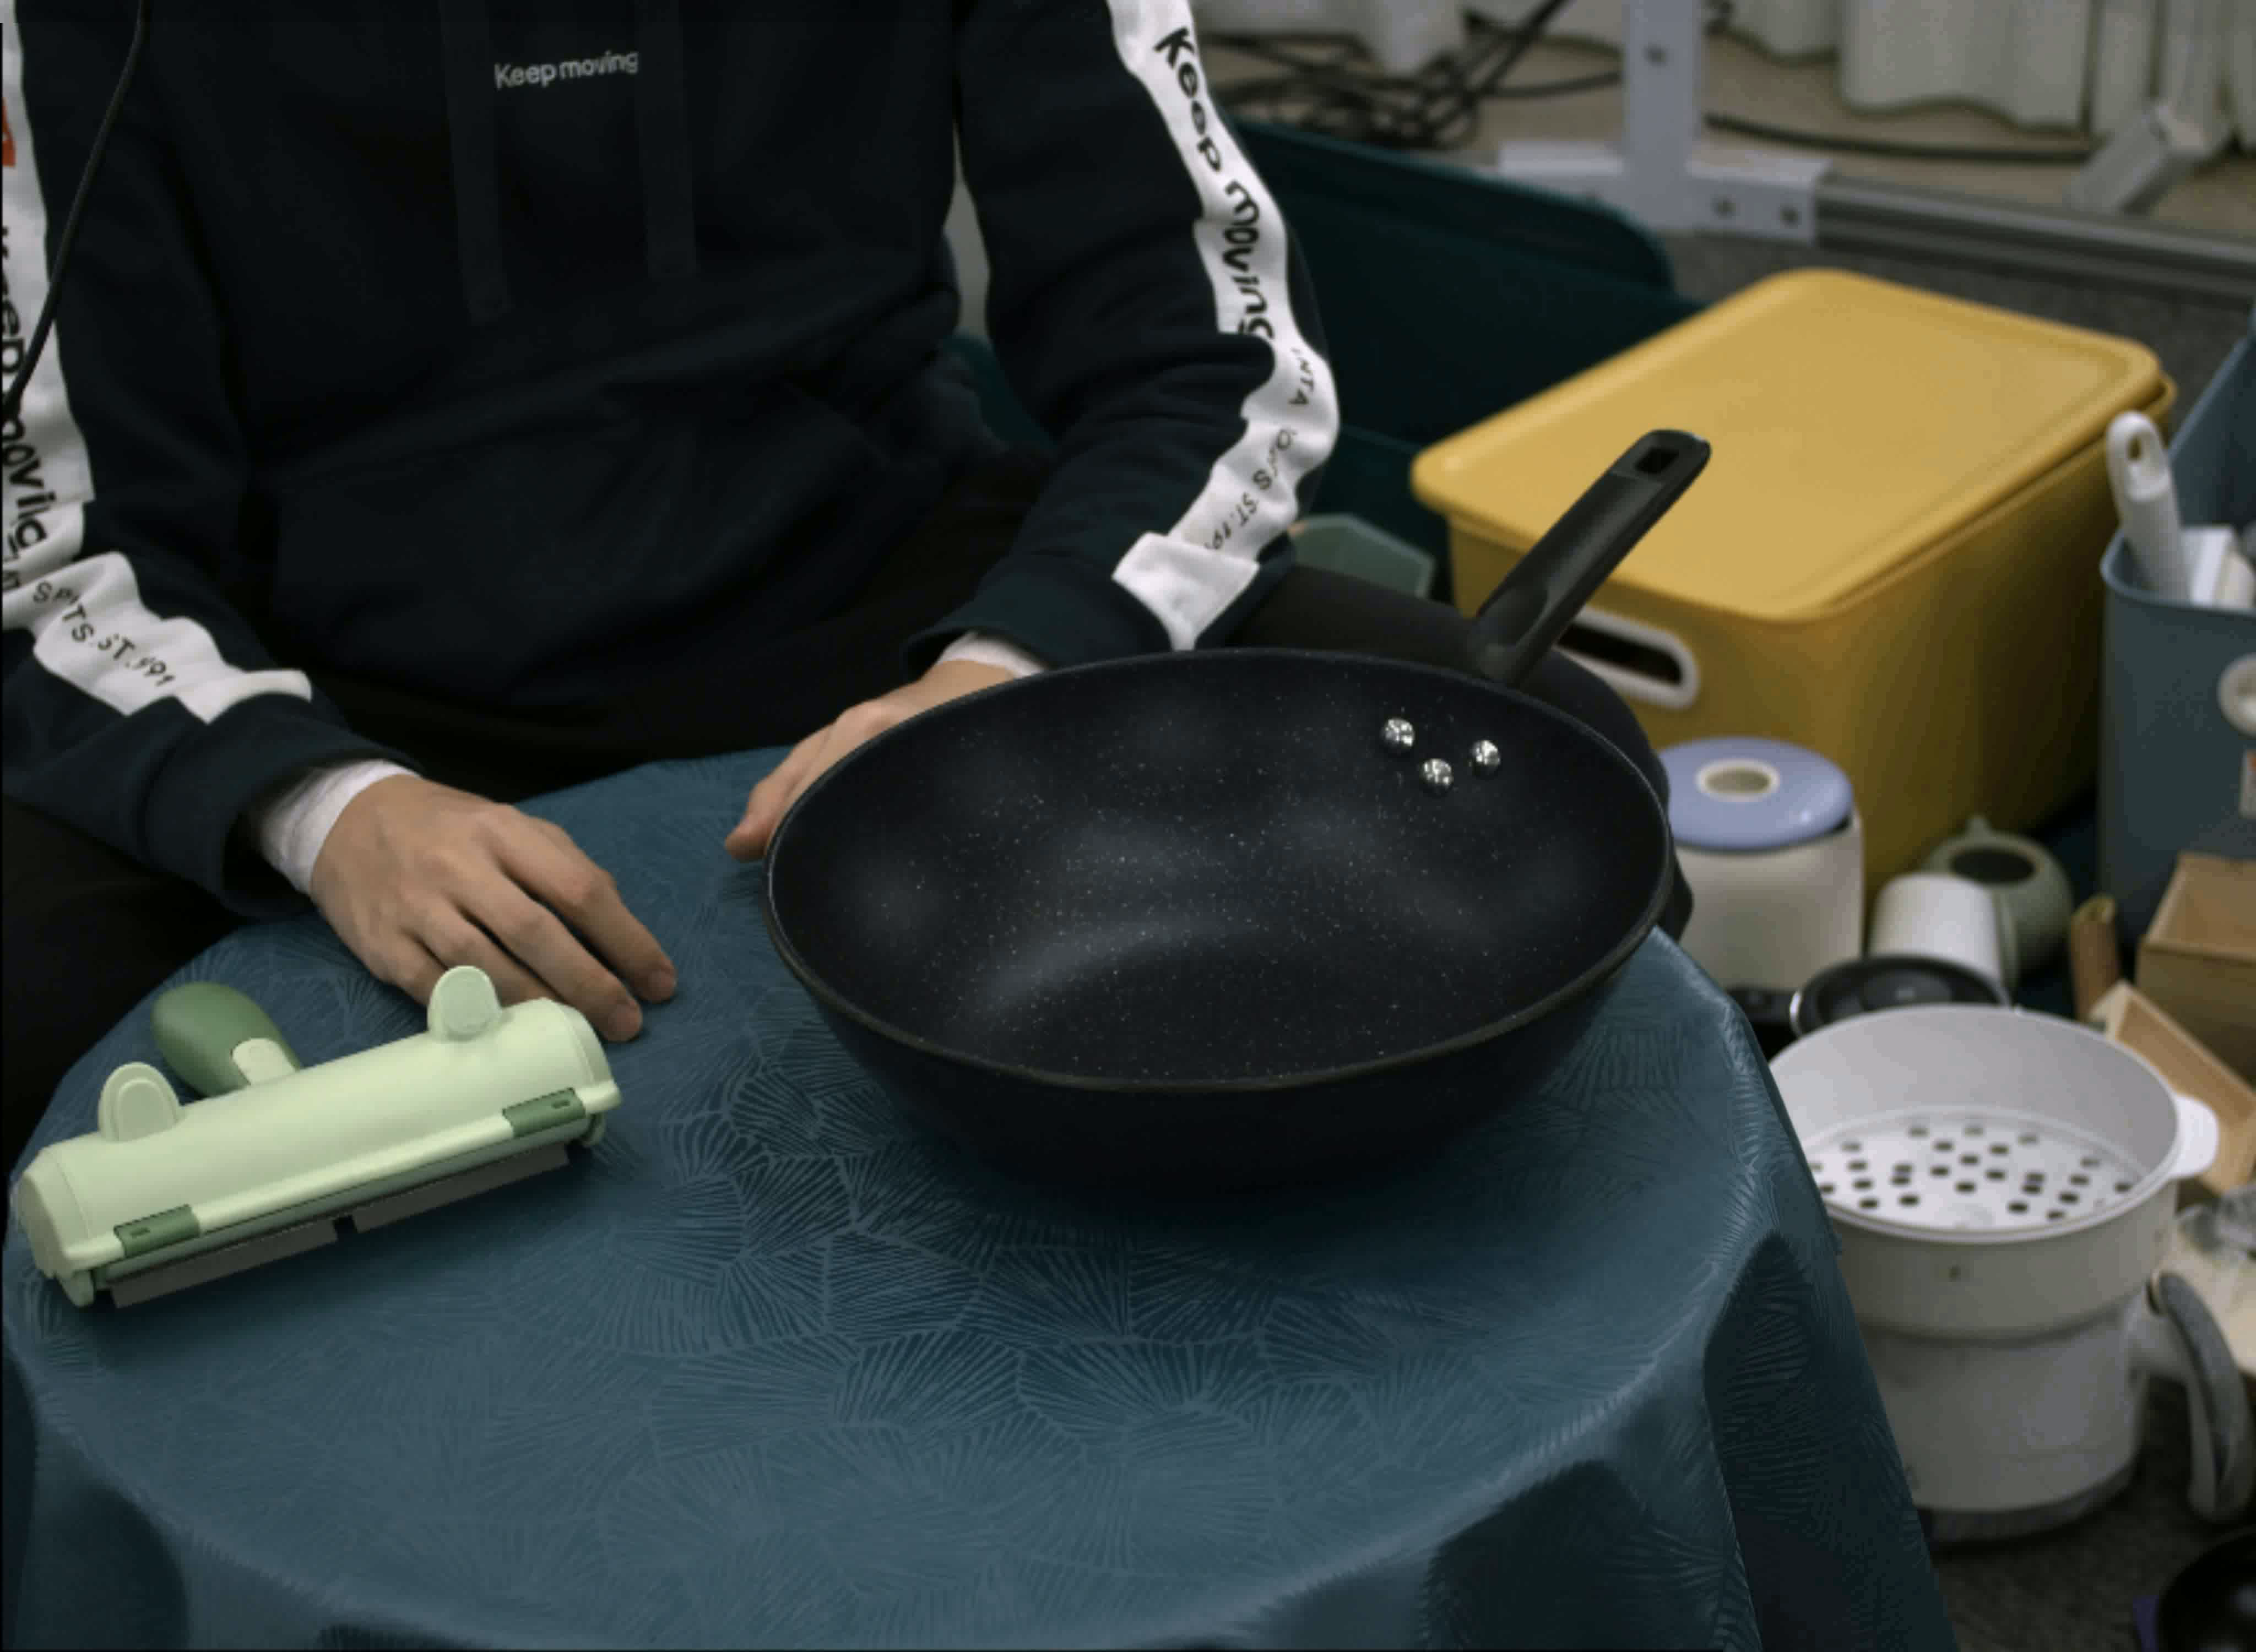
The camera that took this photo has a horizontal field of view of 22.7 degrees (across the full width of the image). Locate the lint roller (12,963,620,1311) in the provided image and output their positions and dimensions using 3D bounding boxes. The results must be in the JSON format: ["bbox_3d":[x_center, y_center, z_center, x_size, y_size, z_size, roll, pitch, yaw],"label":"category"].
[{"bbox_3d":[-0.294,0.076,1.896,0.200,0.081,0.184,-17,35,-24],"label":"lint roller"}]

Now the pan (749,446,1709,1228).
[{"bbox_3d":[0.075,0.006,1.963,0.309,0.110,0.484,16,34,30],"label":"pan"}]
